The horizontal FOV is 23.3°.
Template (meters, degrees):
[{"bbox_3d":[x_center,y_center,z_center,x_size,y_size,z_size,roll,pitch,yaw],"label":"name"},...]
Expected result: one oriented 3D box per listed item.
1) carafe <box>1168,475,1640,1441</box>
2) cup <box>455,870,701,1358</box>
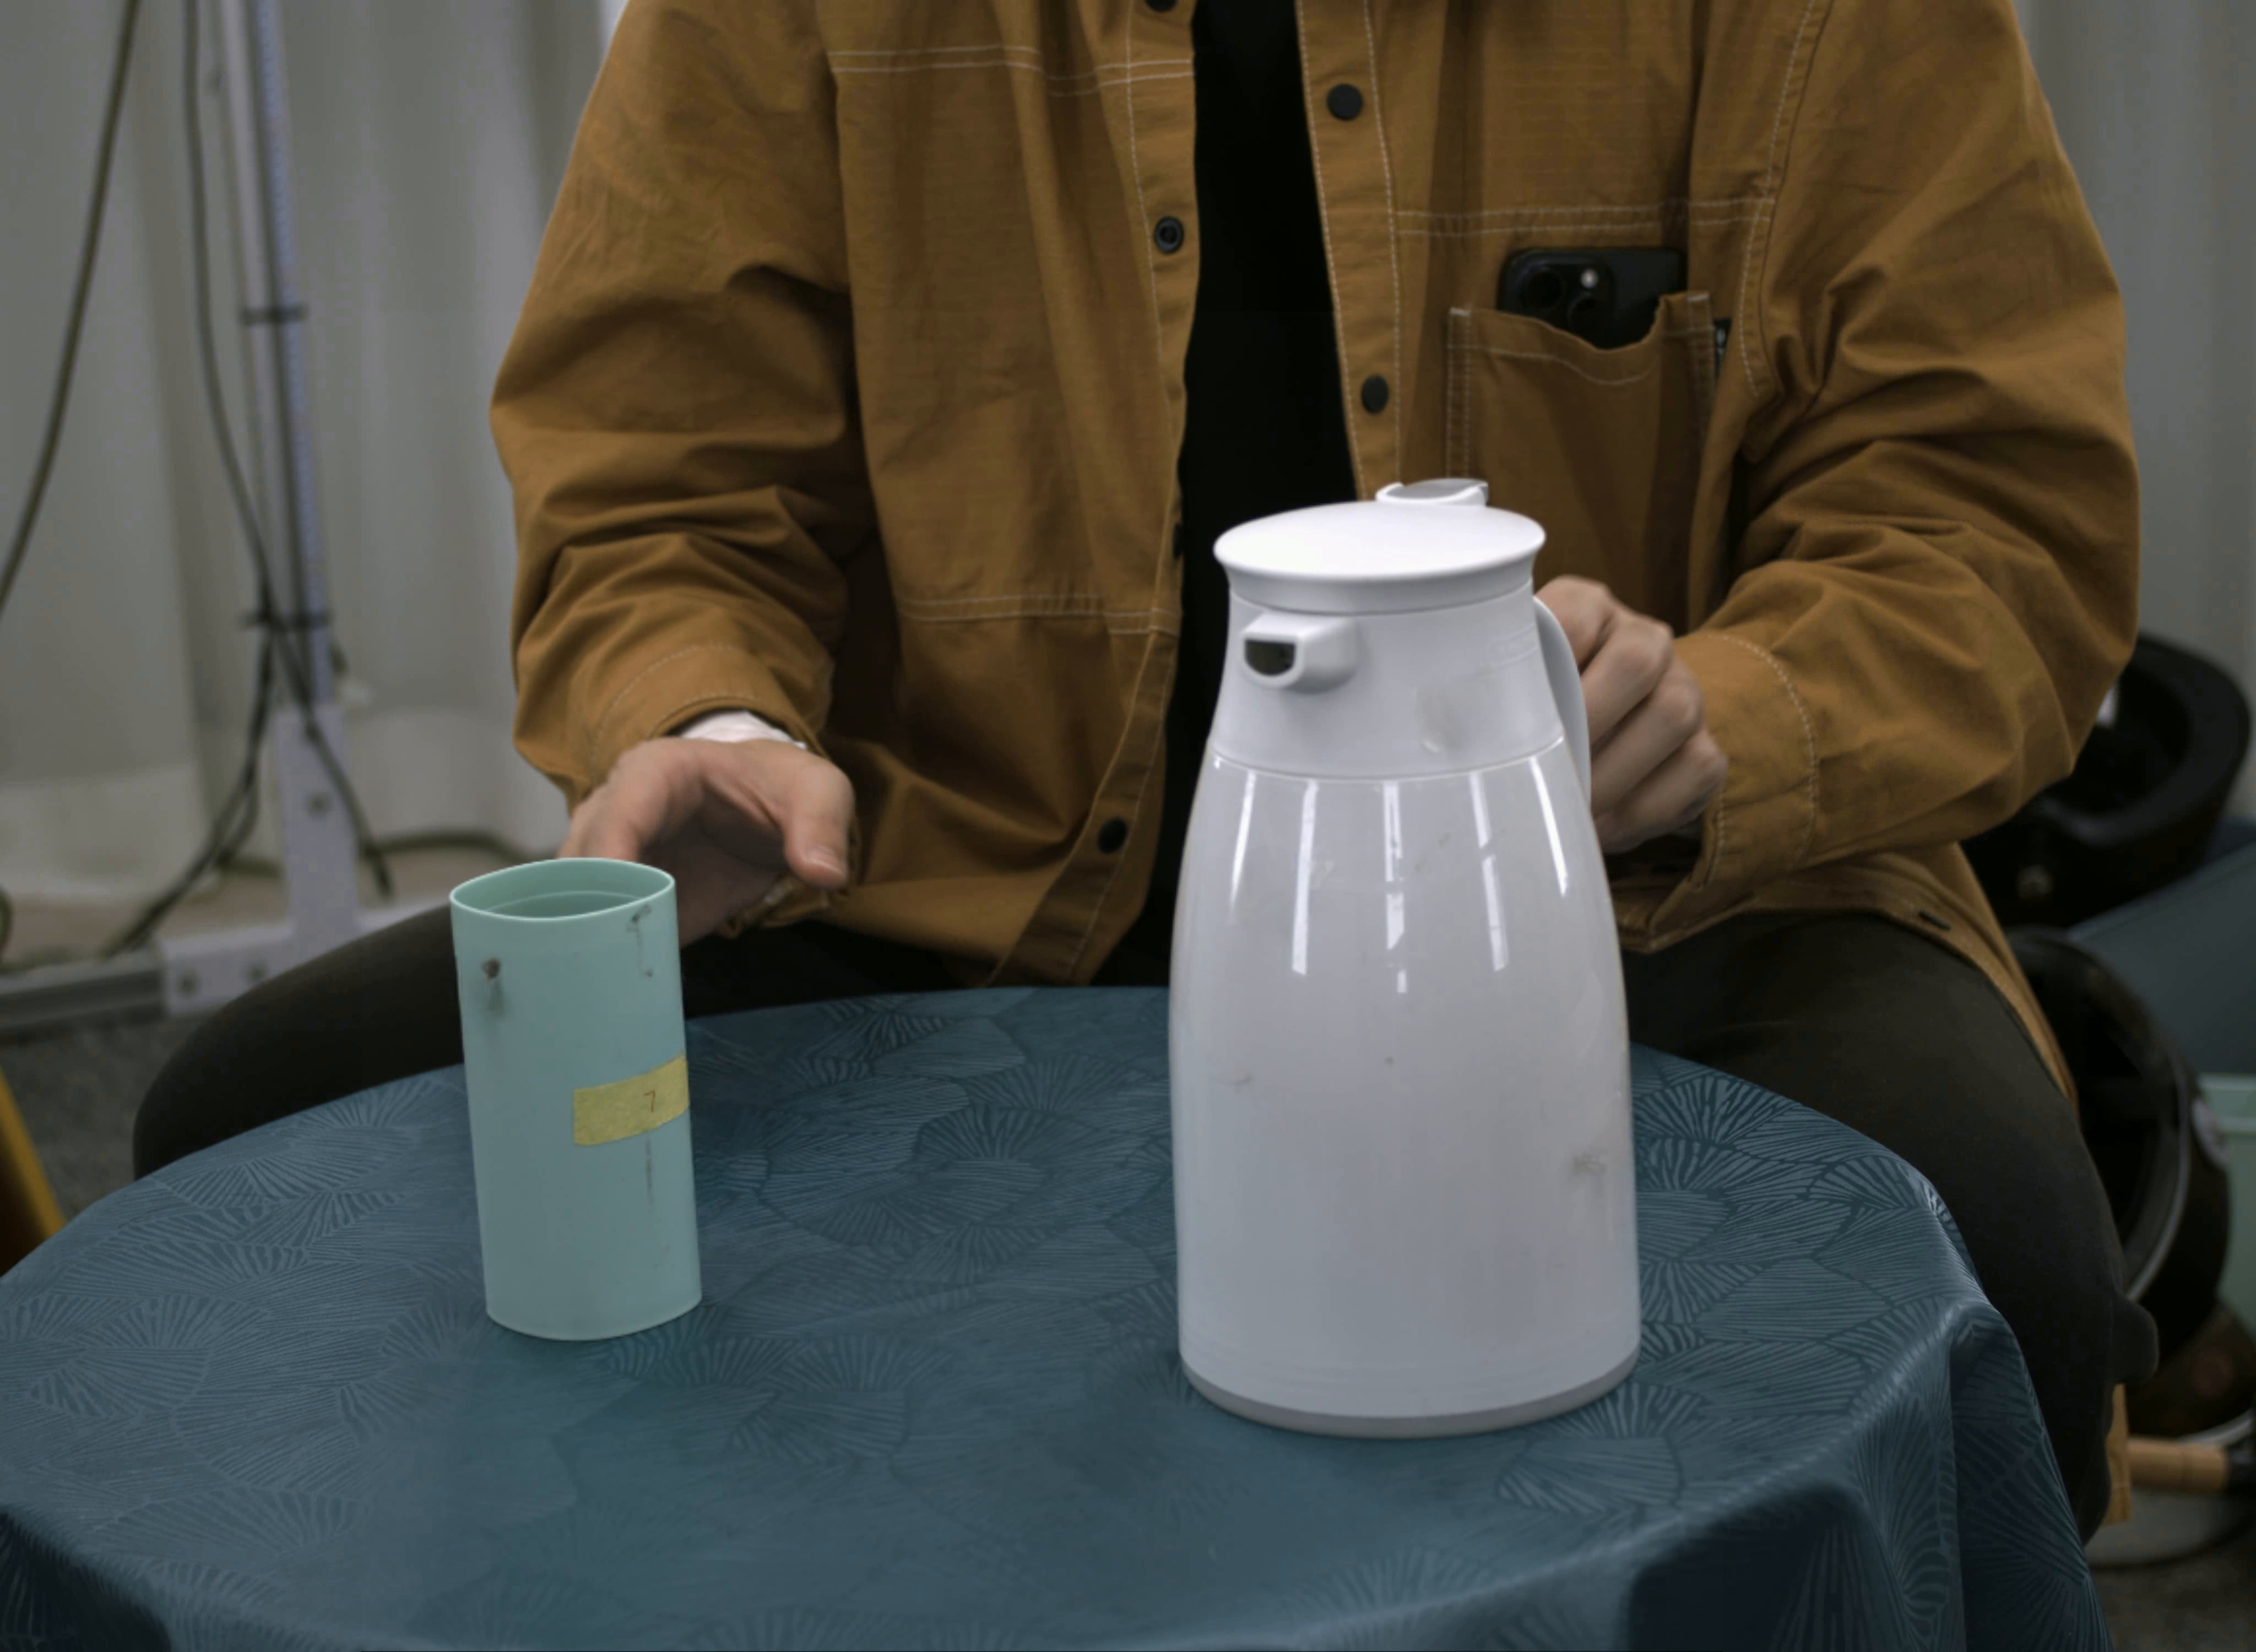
[{"bbox_3d":[0.083,0.028,1.547,0.133,0.248,0.168,5,15,30],"label":"carafe"},{"bbox_3d":[-0.163,0.084,1.622,0.066,0.132,0.067,-2,13,0],"label":"cup"}]
